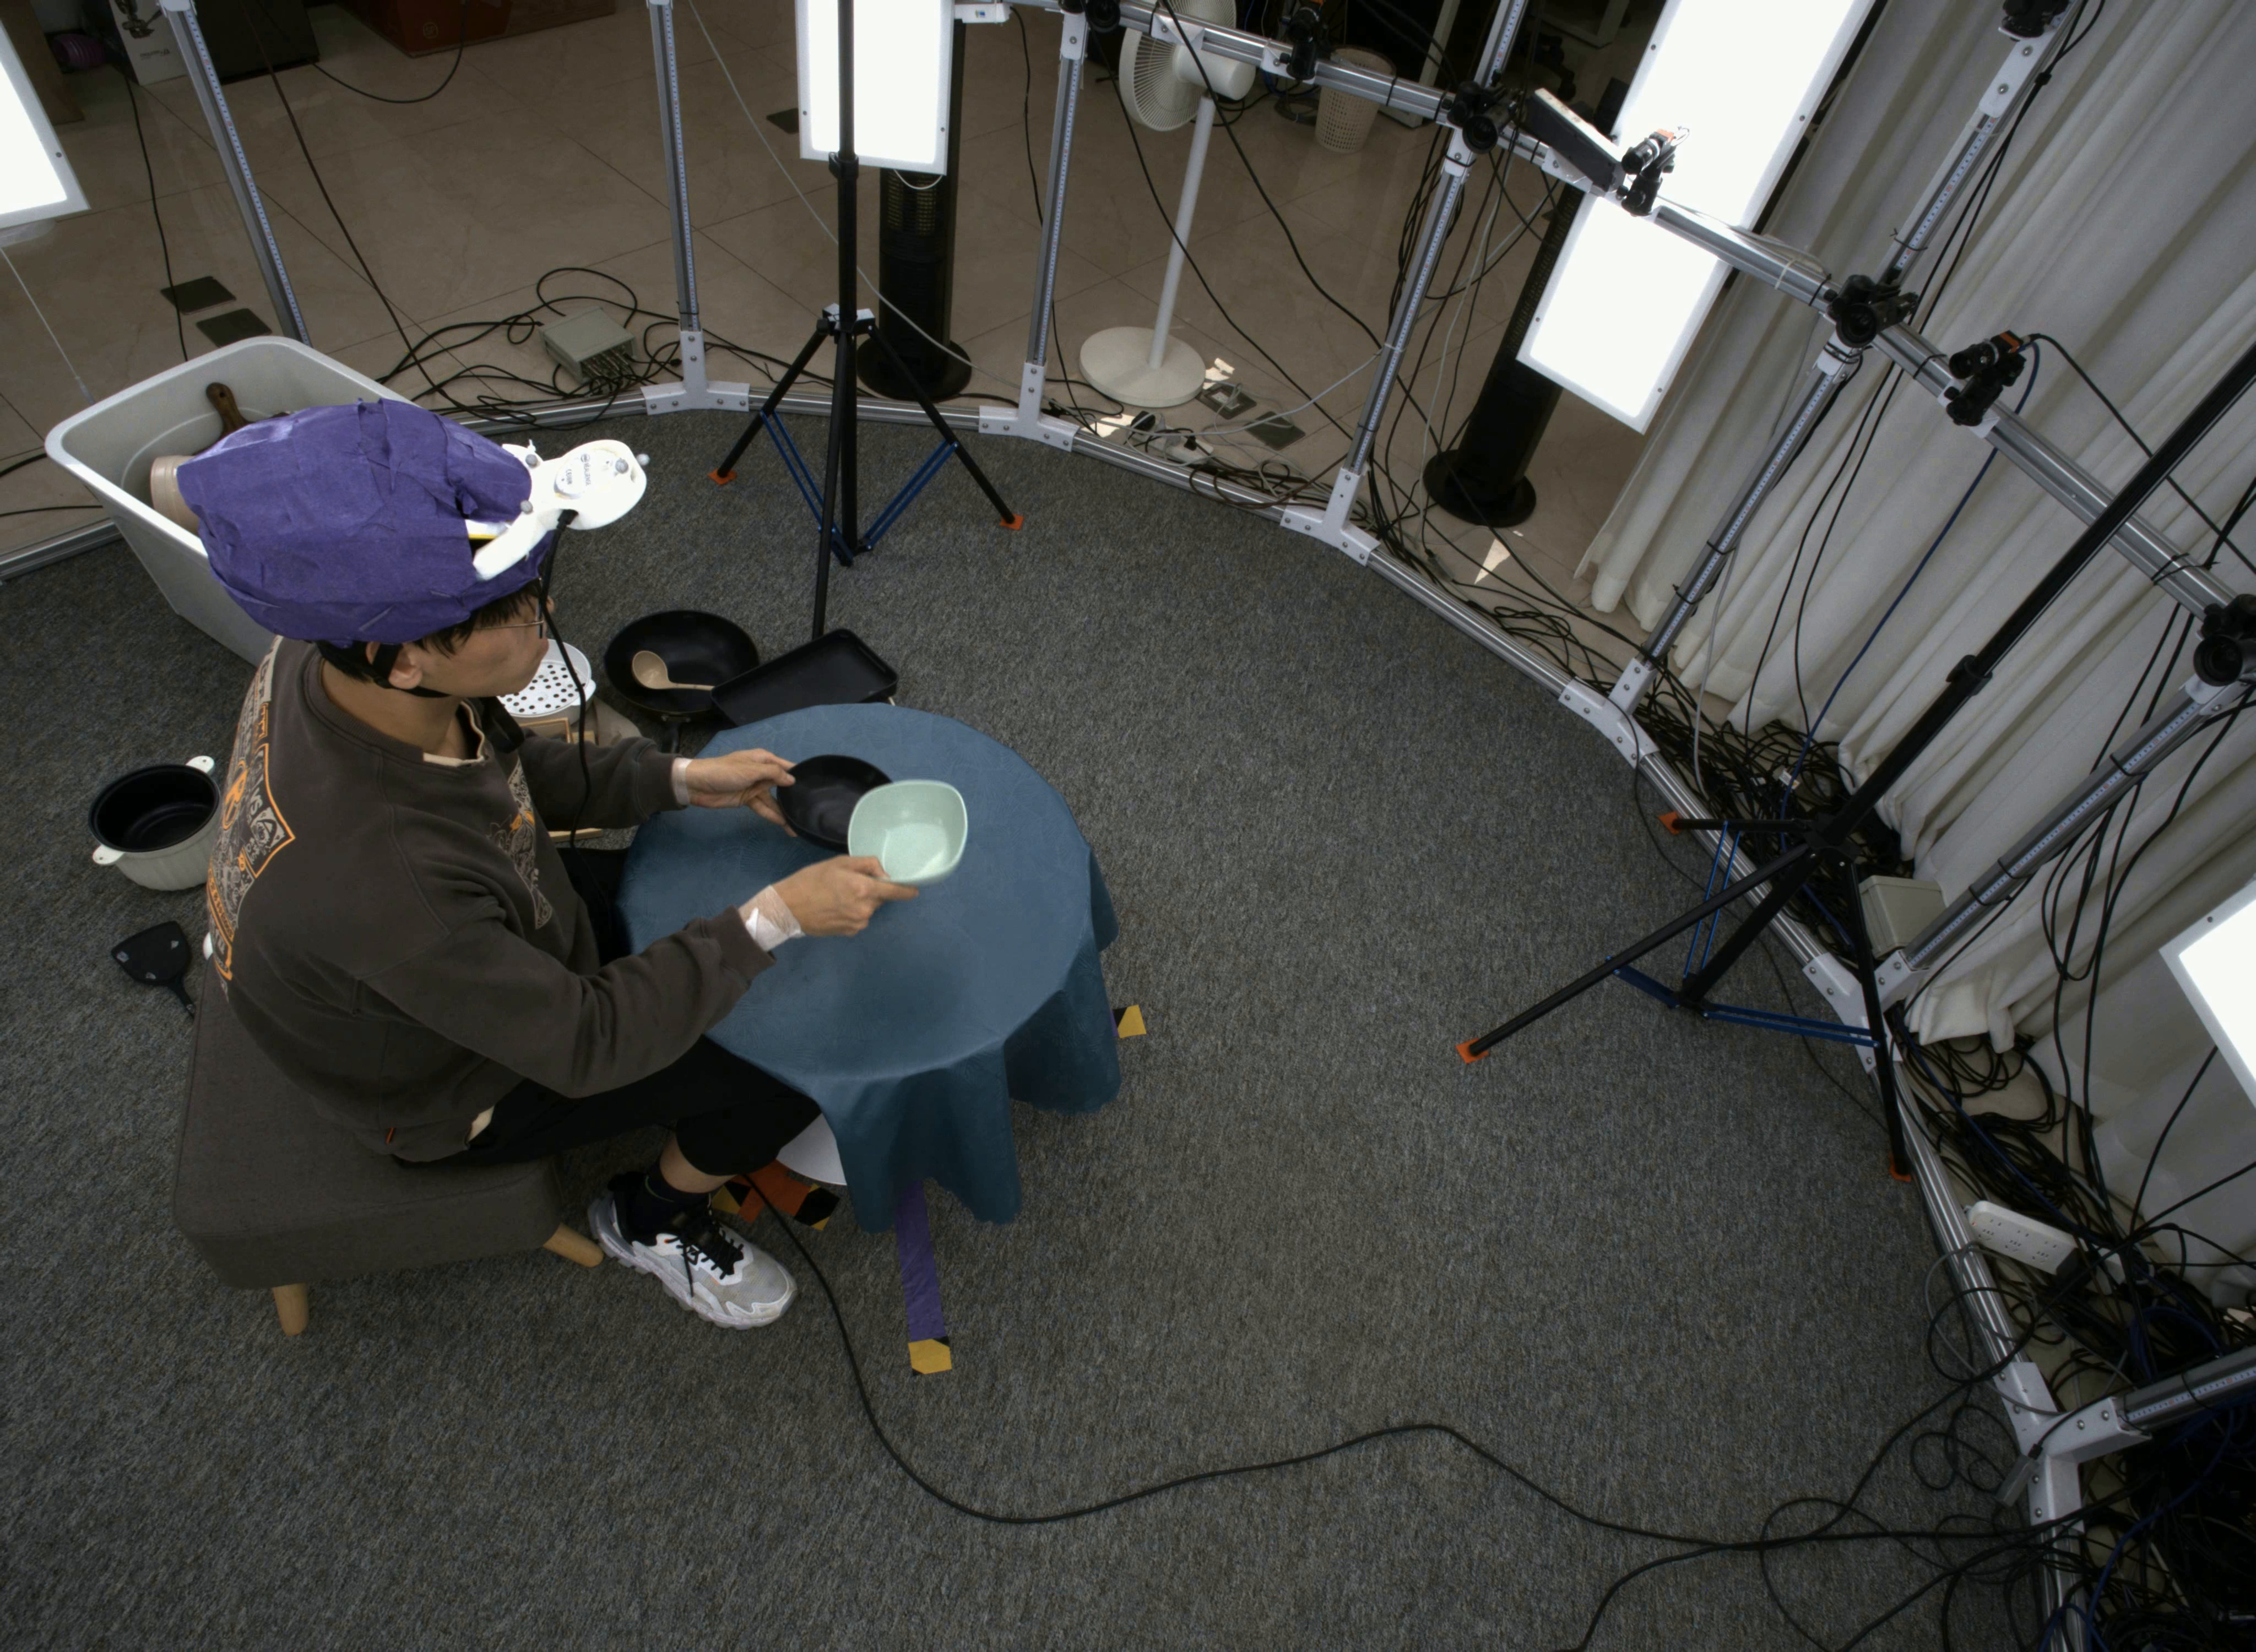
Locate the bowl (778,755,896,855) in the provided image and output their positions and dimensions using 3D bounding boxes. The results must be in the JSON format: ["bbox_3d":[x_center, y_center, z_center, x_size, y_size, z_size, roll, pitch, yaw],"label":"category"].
[{"bbox_3d":[-0.370,-0.017,1.679,0.168,0.068,0.136,24,52,2],"label":"bowl"}]

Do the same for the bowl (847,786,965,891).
[{"bbox_3d":[-0.255,0.024,1.526,0.149,0.060,0.149,0,55,1],"label":"bowl"}]
